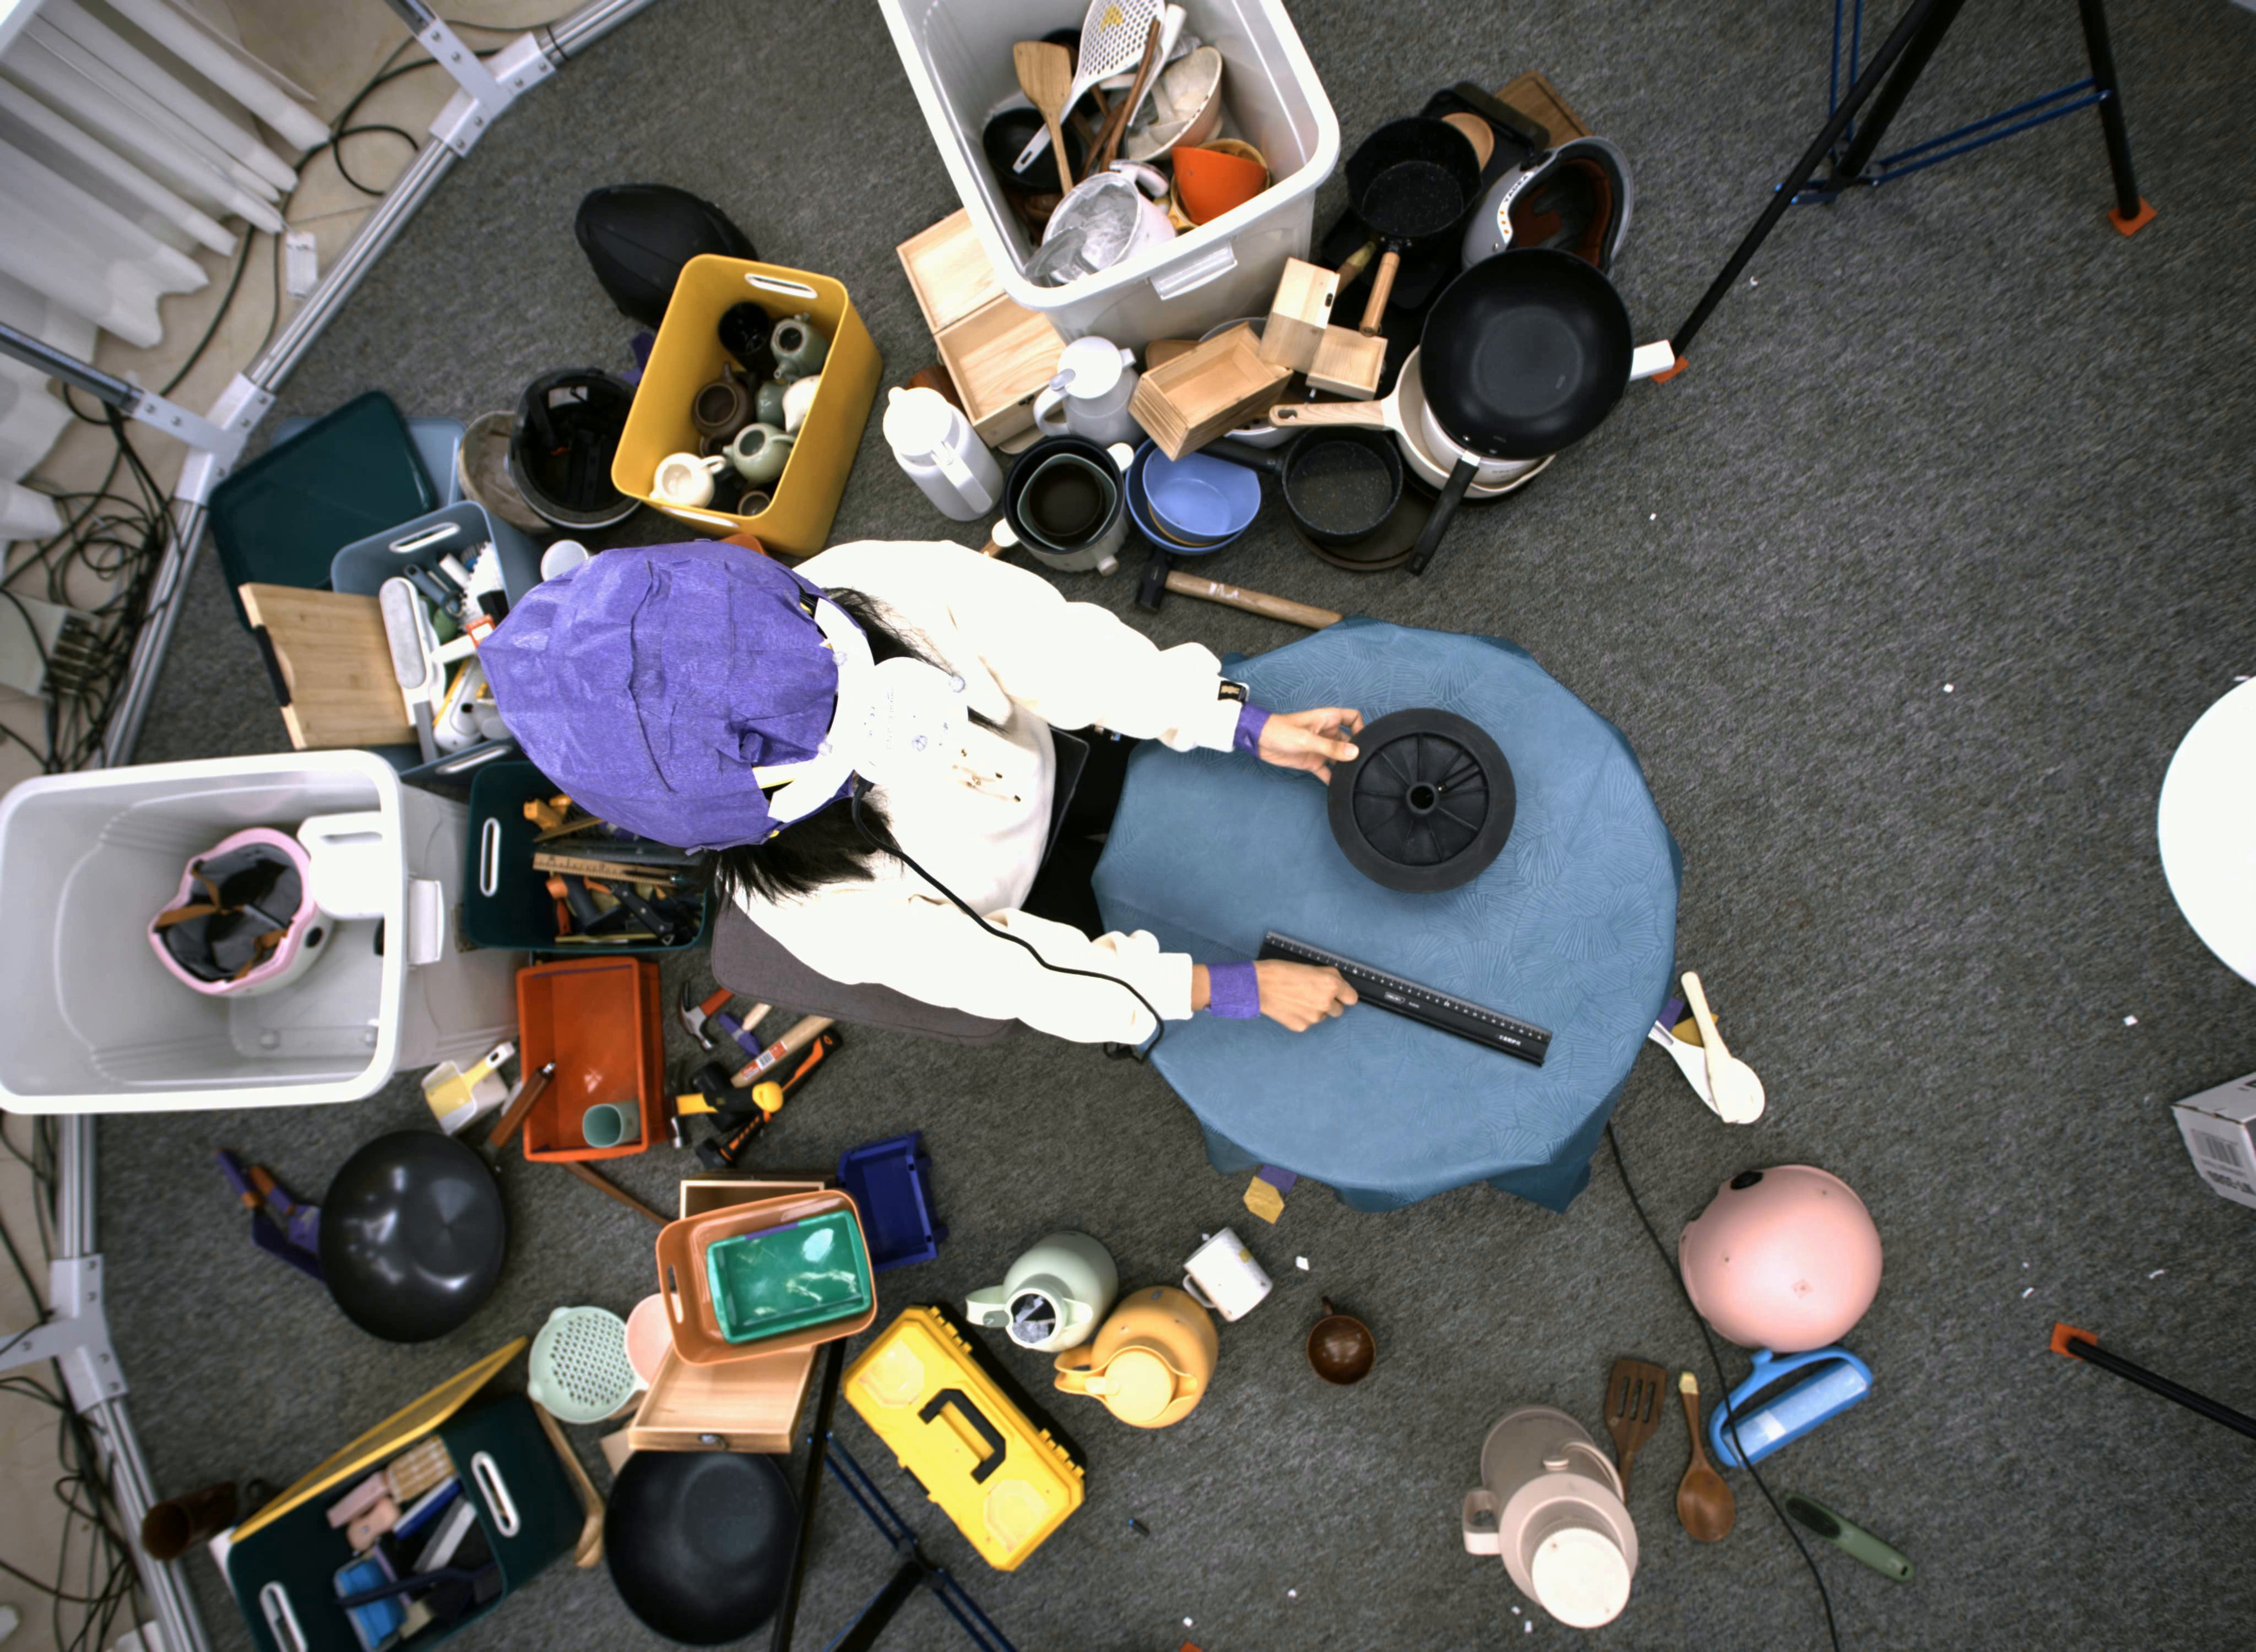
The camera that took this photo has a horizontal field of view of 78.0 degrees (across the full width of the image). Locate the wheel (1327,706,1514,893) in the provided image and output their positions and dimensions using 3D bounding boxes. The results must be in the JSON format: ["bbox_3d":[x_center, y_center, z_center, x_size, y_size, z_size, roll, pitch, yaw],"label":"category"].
[{"bbox_3d":[0.292,-0.029,1.370,0.187,0.079,0.191,37,96,8],"label":"wheel"}]

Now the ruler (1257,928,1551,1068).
[{"bbox_3d":[0.286,0.176,1.436,0.312,0.017,0.039,21,90,9],"label":"ruler"}]
